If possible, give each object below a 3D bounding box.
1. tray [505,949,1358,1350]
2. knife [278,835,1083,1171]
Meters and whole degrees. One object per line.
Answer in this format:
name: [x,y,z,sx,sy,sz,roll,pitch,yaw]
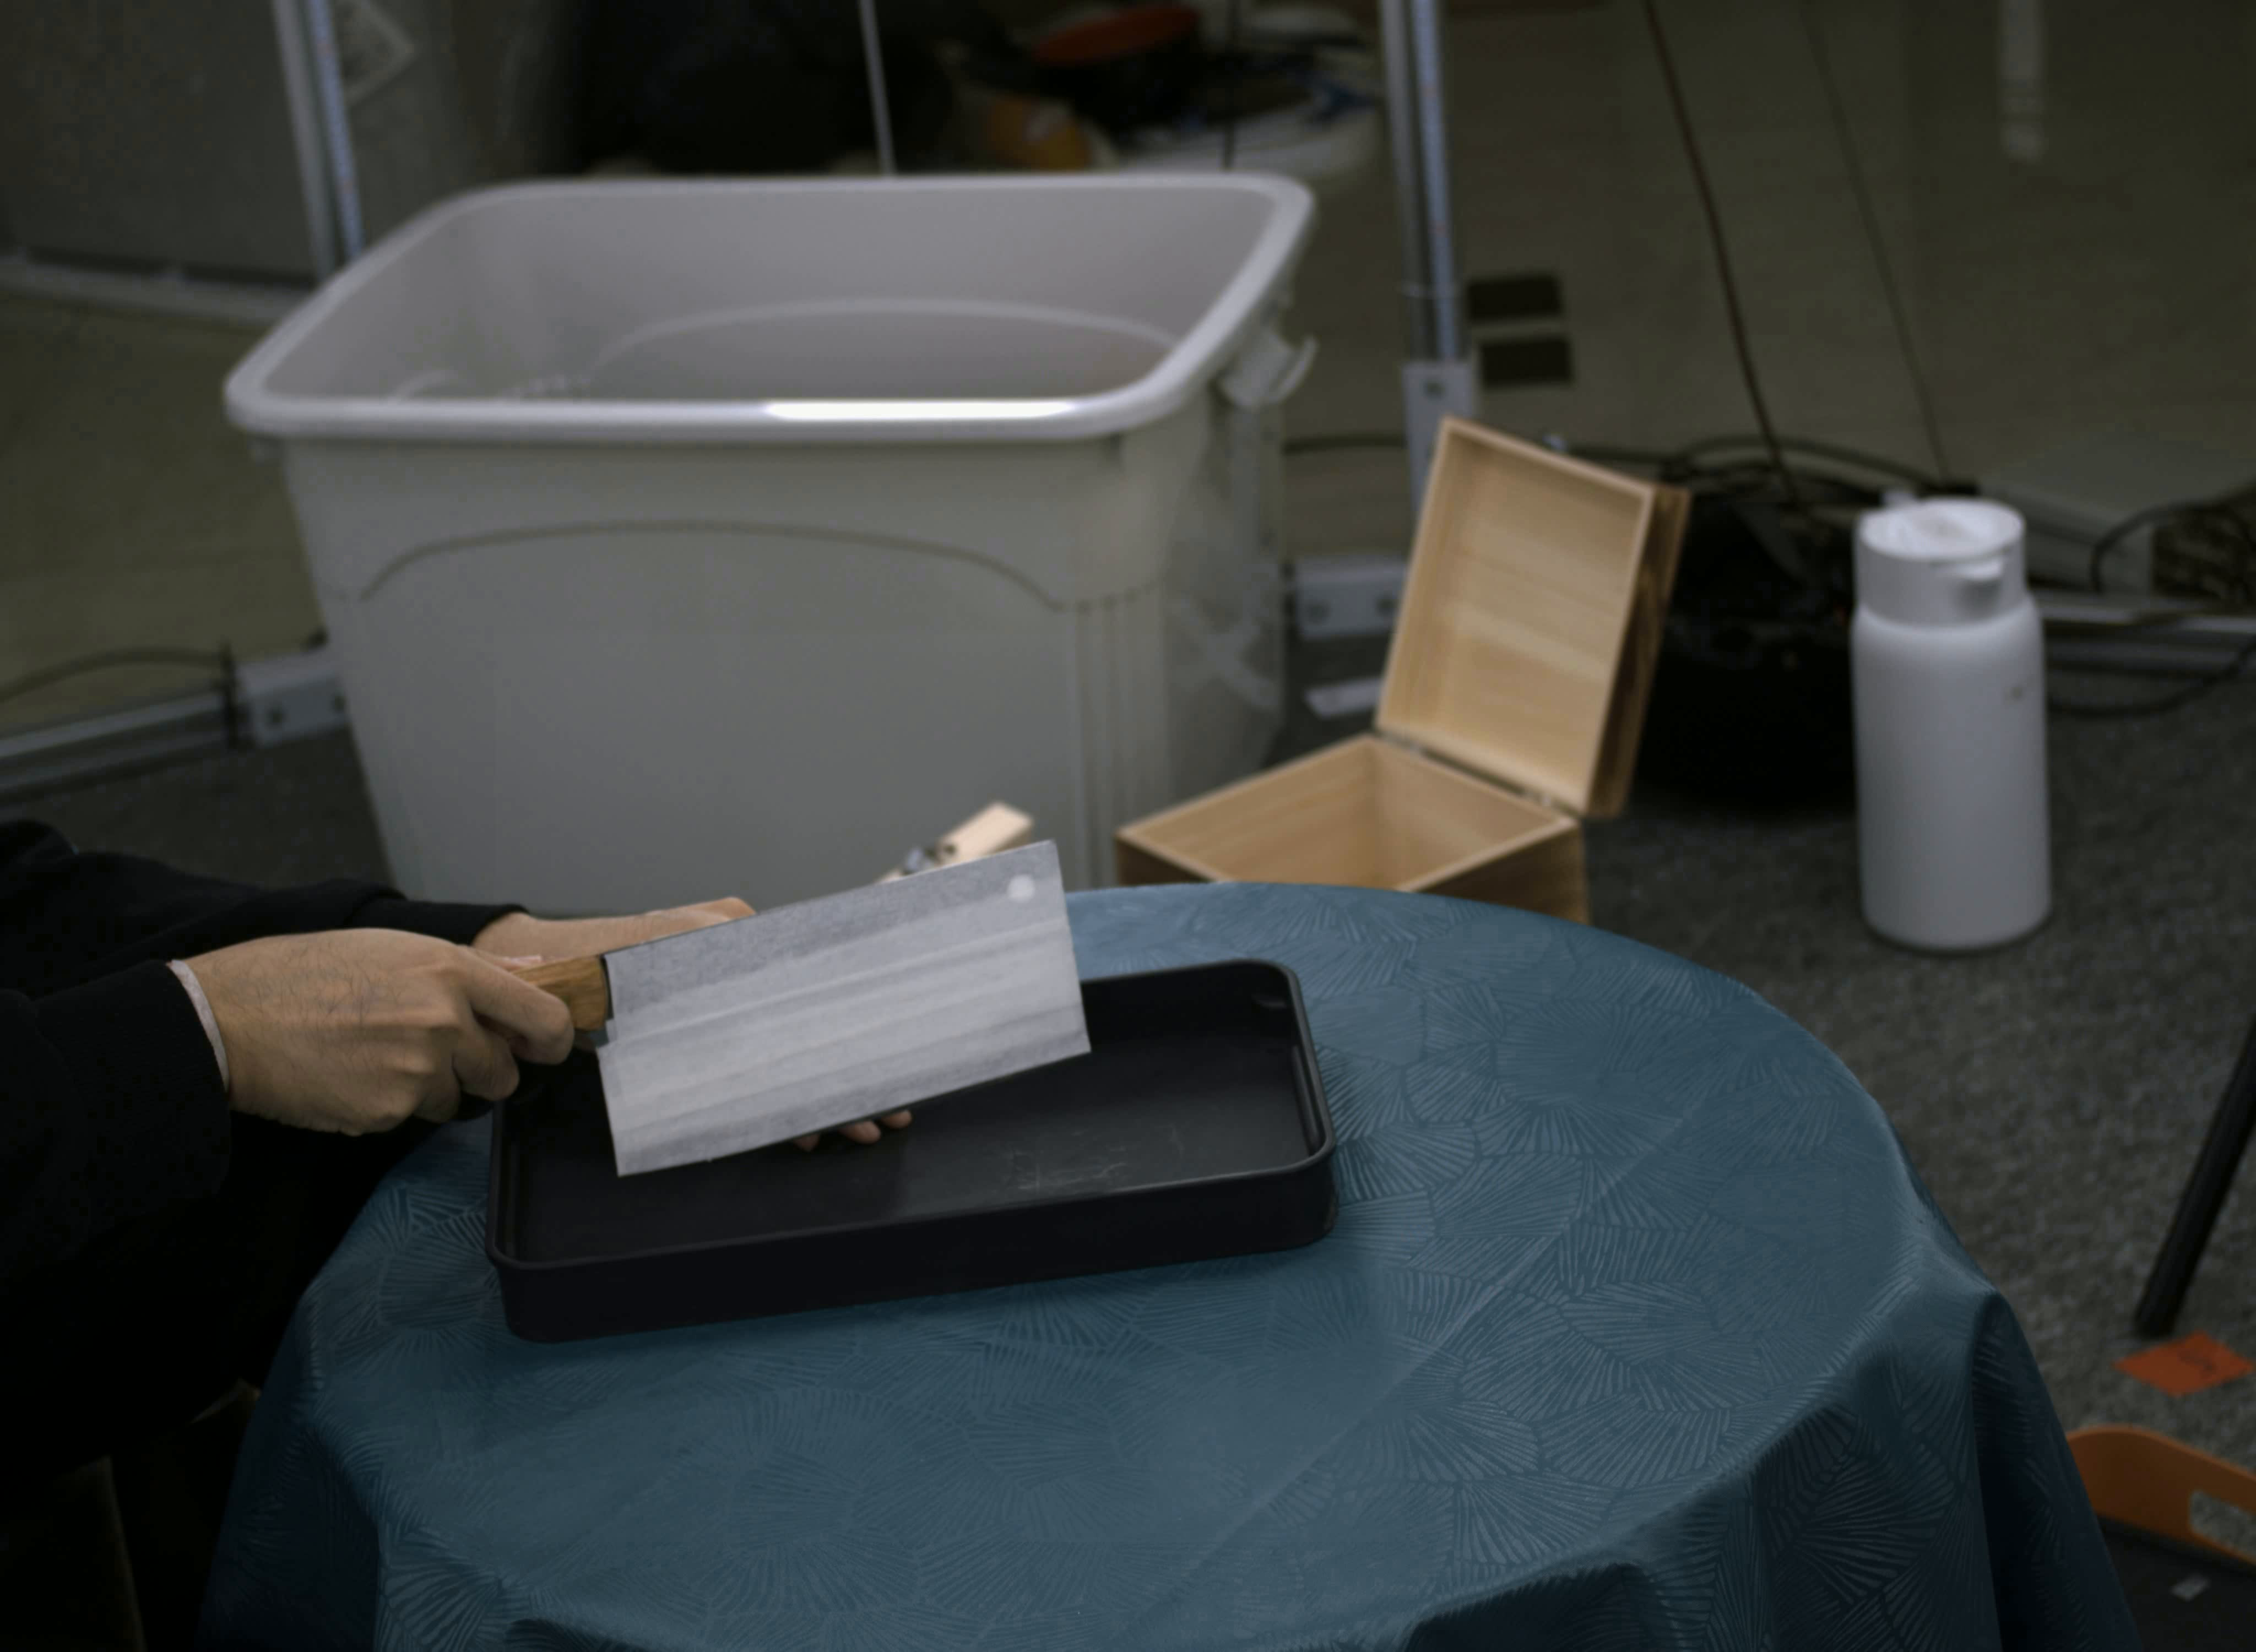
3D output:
tray: [-0.077,0.121,2.162,0.317,0.037,0.181,-8,25,-3]
knife: [-0.163,0.079,2.127,0.305,0.094,0.021,-14,22,-14]
